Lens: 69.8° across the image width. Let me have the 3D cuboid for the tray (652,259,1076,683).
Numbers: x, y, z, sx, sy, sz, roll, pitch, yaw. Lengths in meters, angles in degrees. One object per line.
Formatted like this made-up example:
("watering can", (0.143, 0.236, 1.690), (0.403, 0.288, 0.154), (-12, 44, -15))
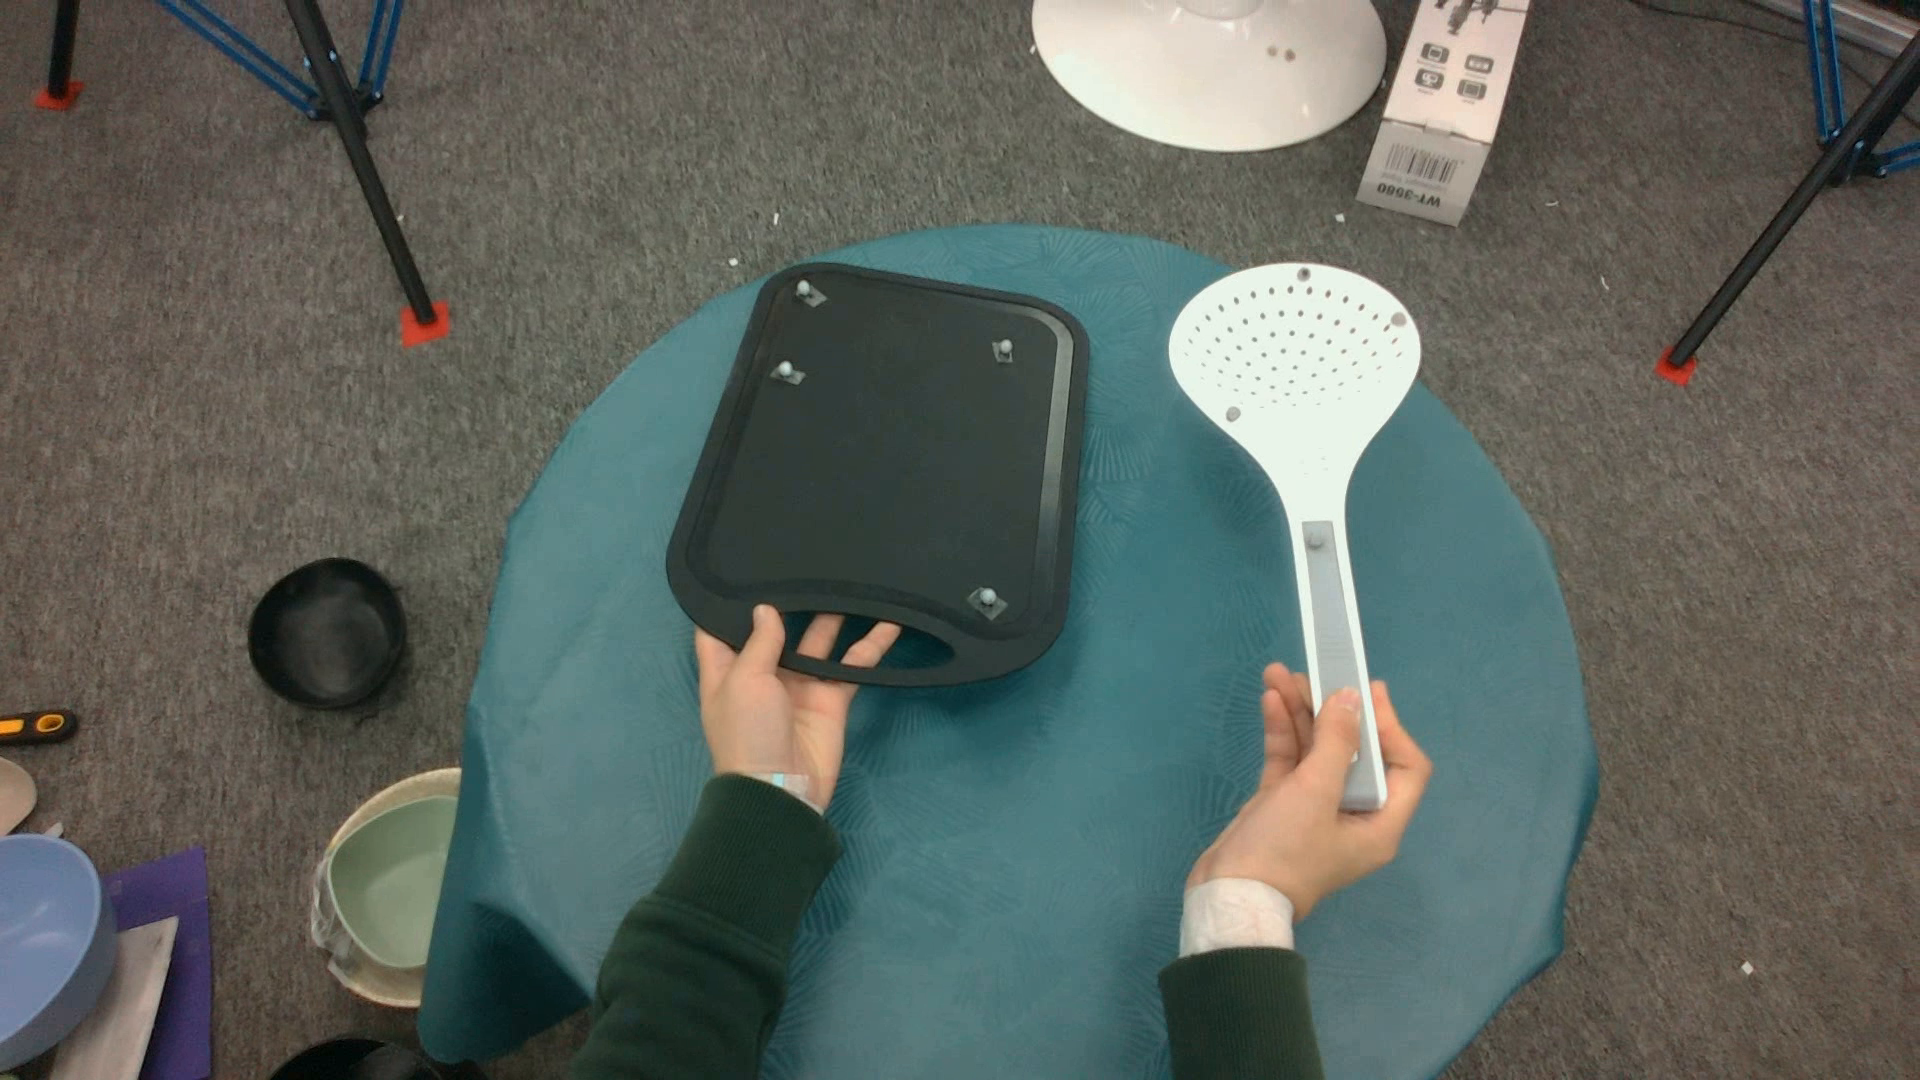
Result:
("tray", (-0.043, -0.053, 0.778), (0.211, 0.010, 0.327), (9, 47, 0))

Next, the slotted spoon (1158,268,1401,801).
("slotted spoon", (0.177, -0.021, 0.721), (0.136, 0.045, 0.351), (-2, 46, 7))
